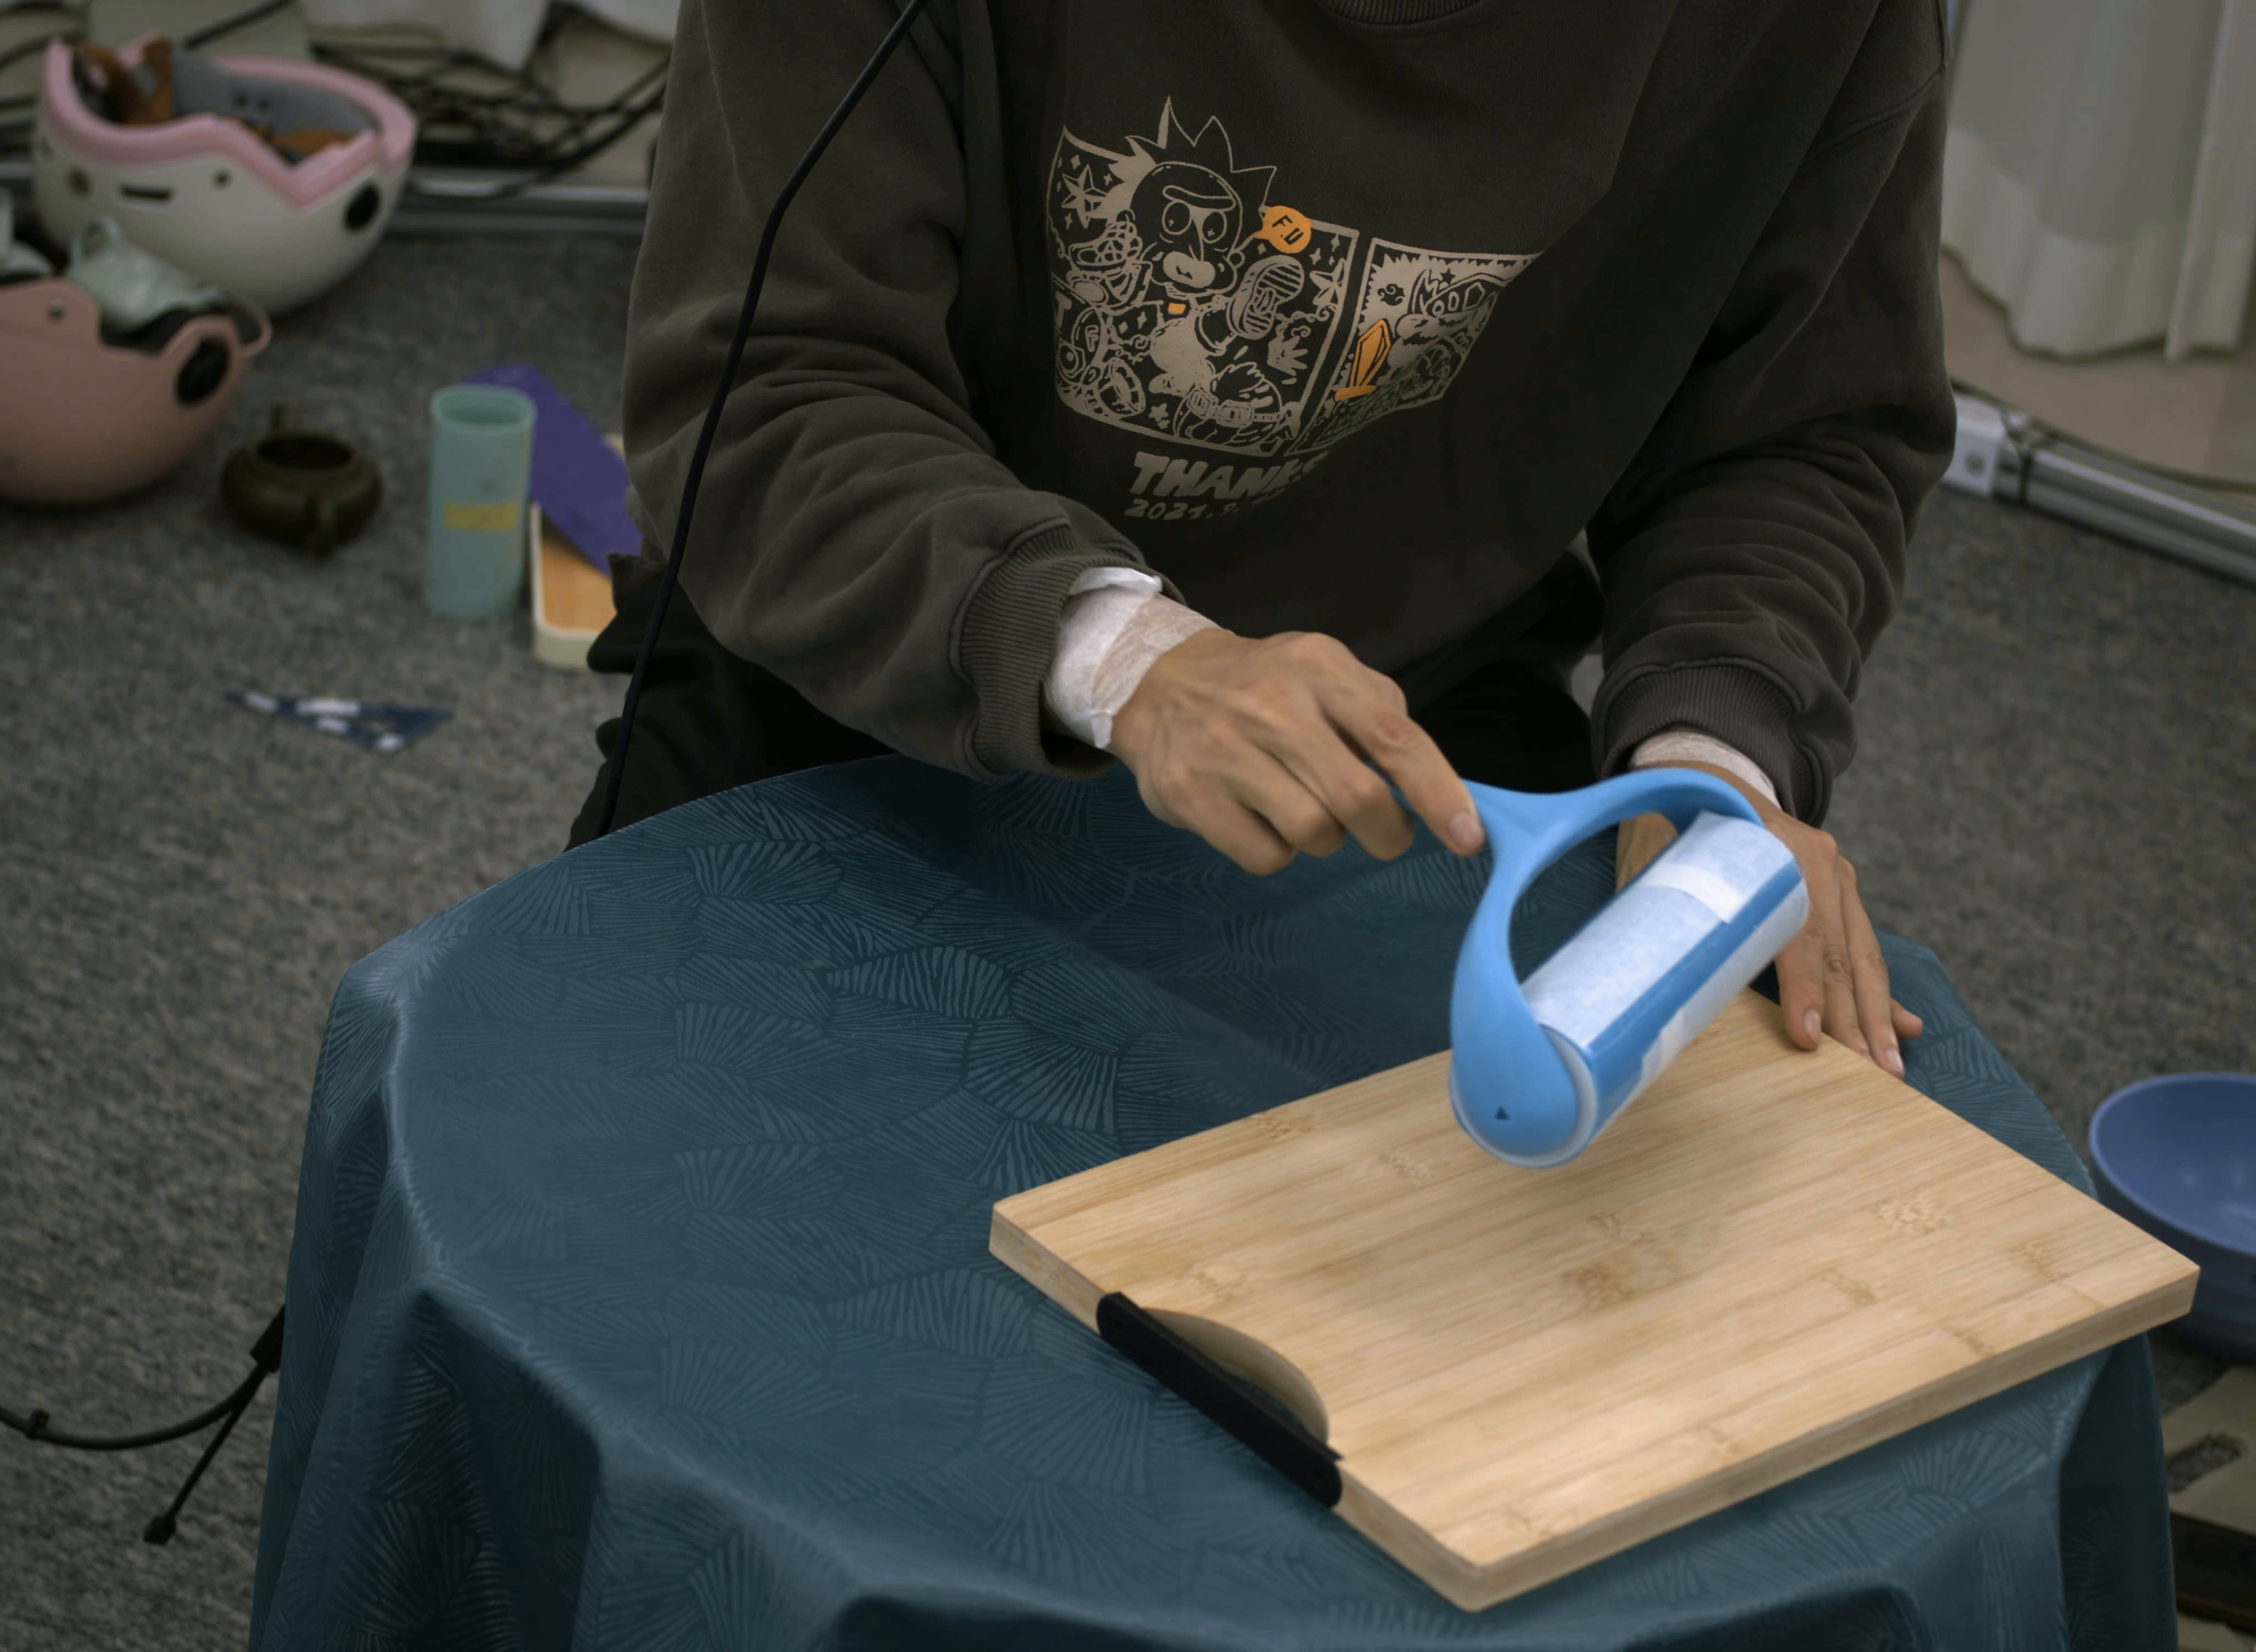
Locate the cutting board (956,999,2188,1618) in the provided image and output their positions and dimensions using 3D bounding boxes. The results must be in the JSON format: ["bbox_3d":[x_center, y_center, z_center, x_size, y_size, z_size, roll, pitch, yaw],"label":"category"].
[{"bbox_3d":[0.152,0.147,1.775,0.346,0.023,0.253,-16,34,-38],"label":"cutting board"}]

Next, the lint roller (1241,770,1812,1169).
[{"bbox_3d":[0.122,0.021,1.785,0.181,0.068,0.228,34,32,12],"label":"lint roller"}]
